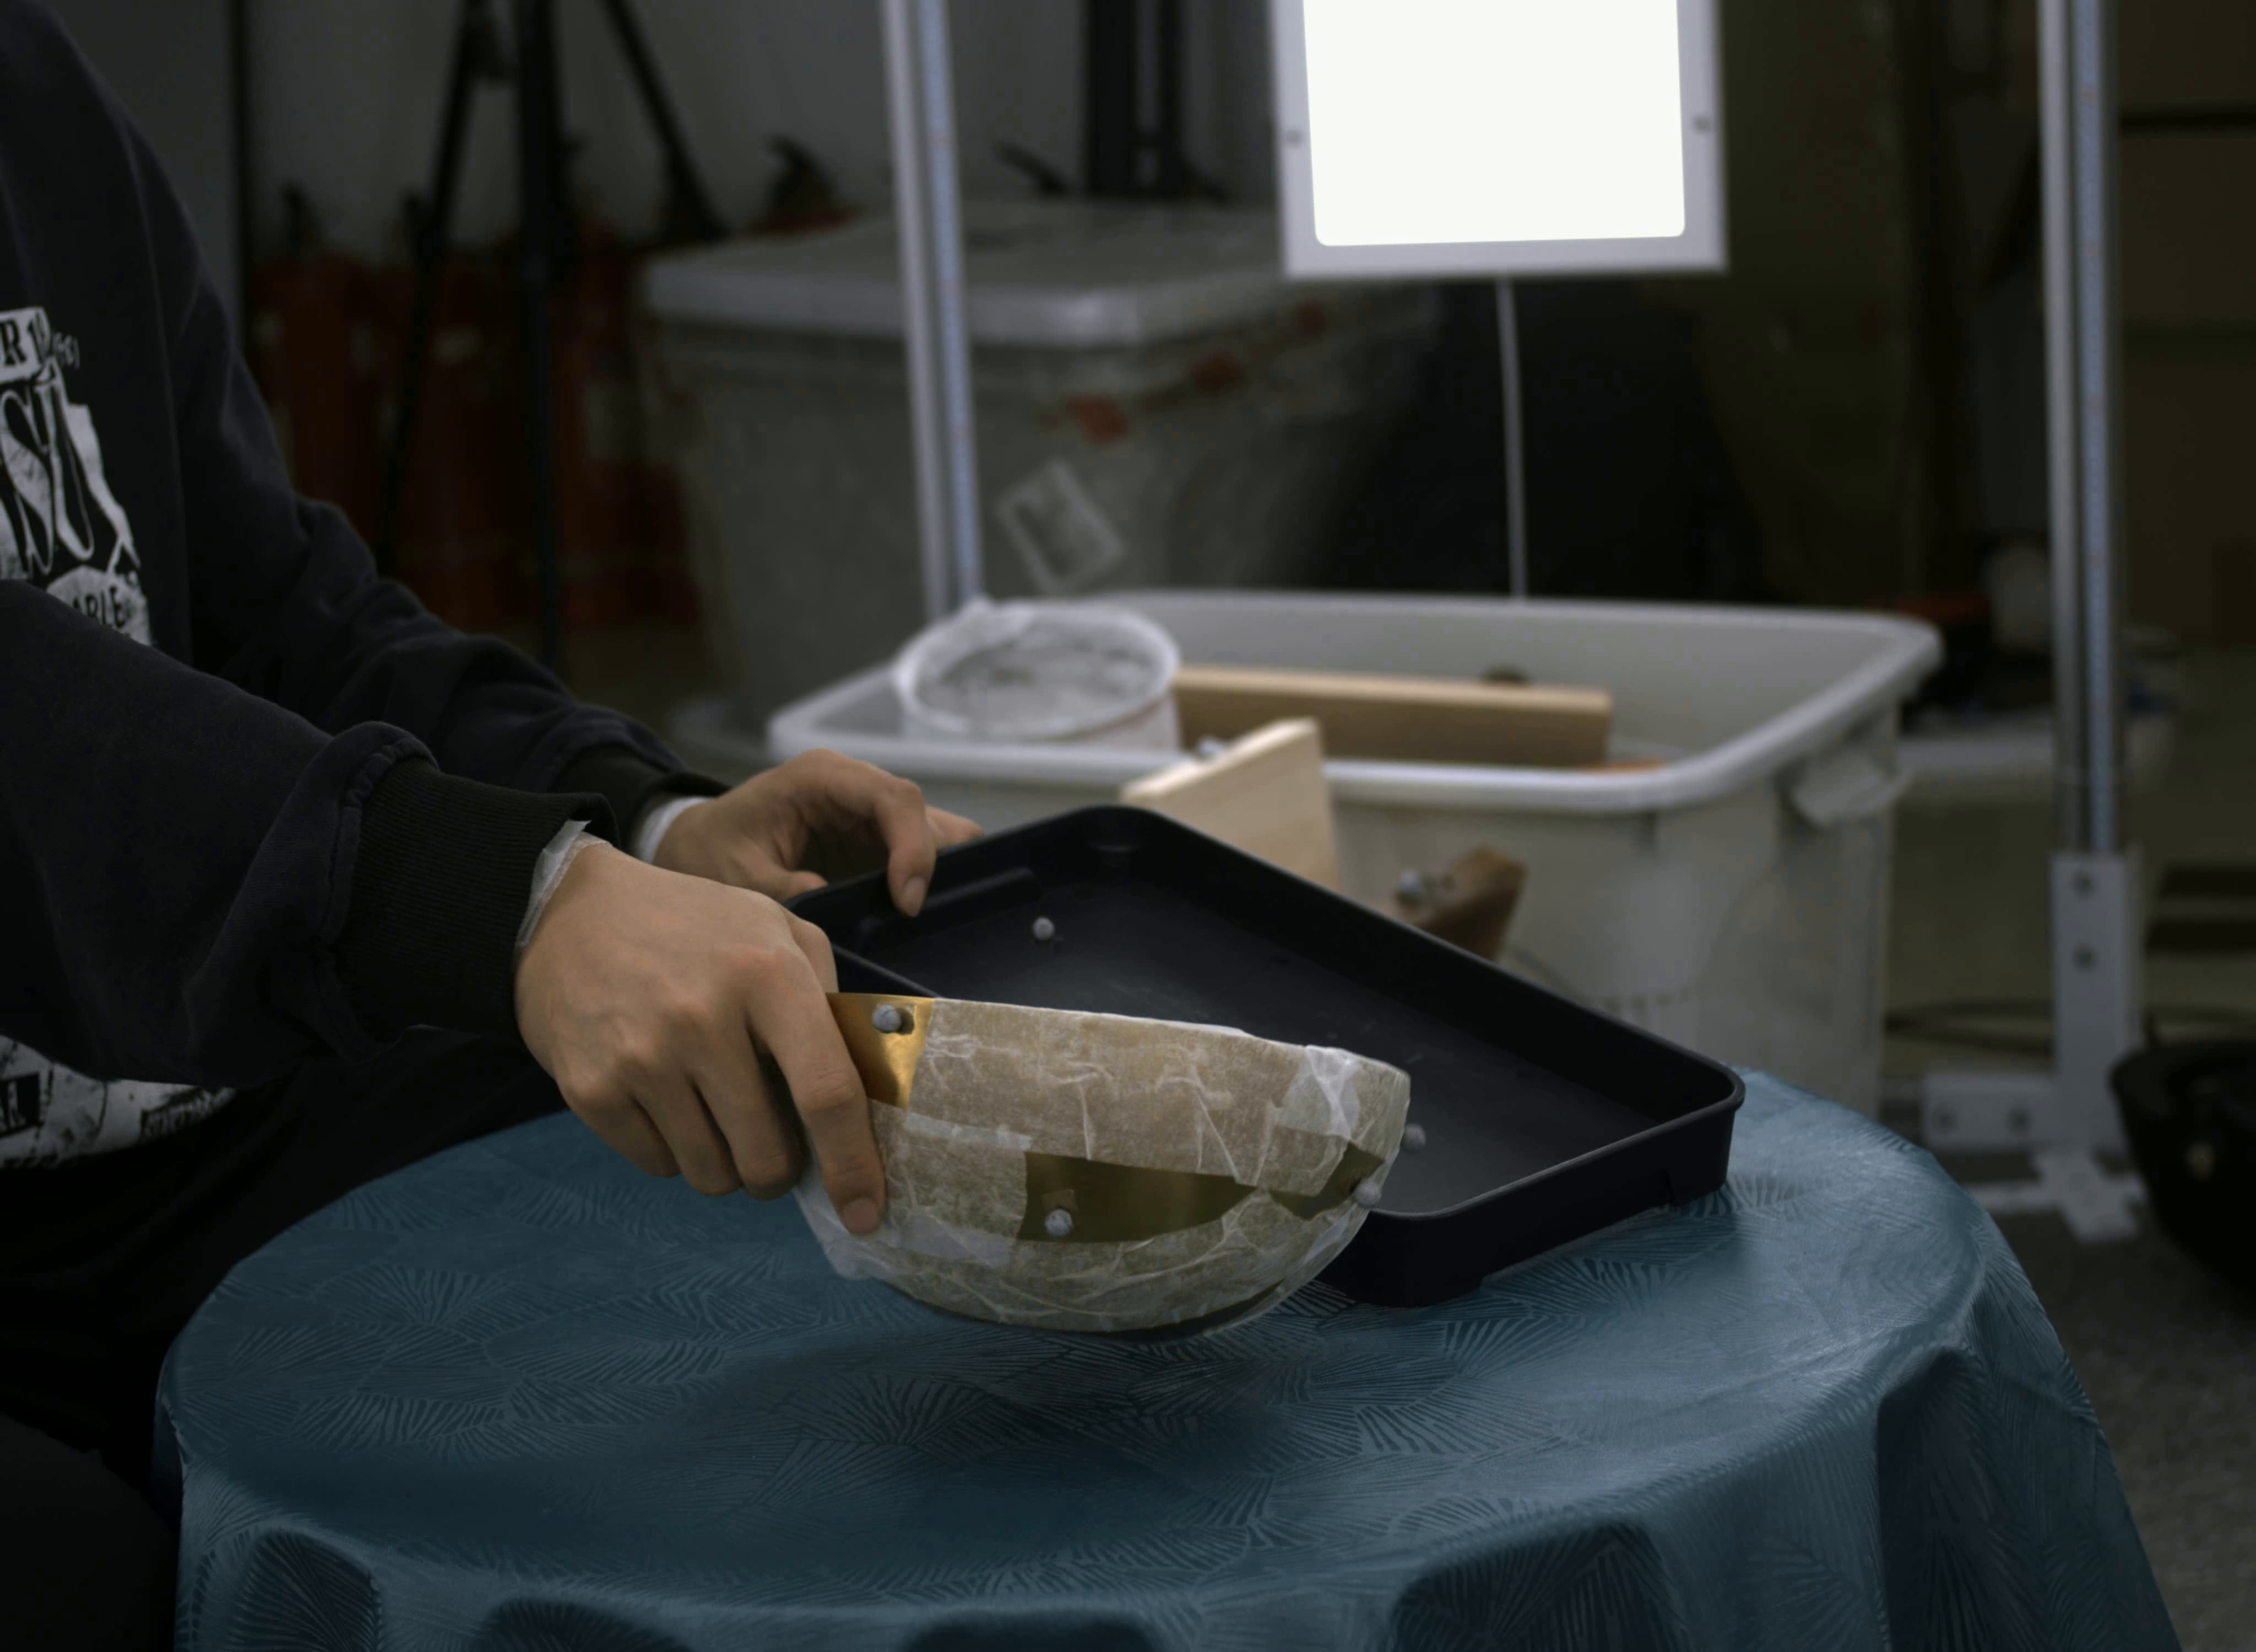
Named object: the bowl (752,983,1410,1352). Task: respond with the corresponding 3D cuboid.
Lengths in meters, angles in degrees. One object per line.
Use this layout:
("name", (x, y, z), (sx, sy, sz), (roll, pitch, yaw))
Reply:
("bowl", (-0.018, 0.110, 1.675), (0.214, 0.094, 0.215), (7, -8, -1))

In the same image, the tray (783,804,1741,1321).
("tray", (0.041, 0.075, 1.897), (0.179, 0.037, 0.324), (-15, 30, -39))
